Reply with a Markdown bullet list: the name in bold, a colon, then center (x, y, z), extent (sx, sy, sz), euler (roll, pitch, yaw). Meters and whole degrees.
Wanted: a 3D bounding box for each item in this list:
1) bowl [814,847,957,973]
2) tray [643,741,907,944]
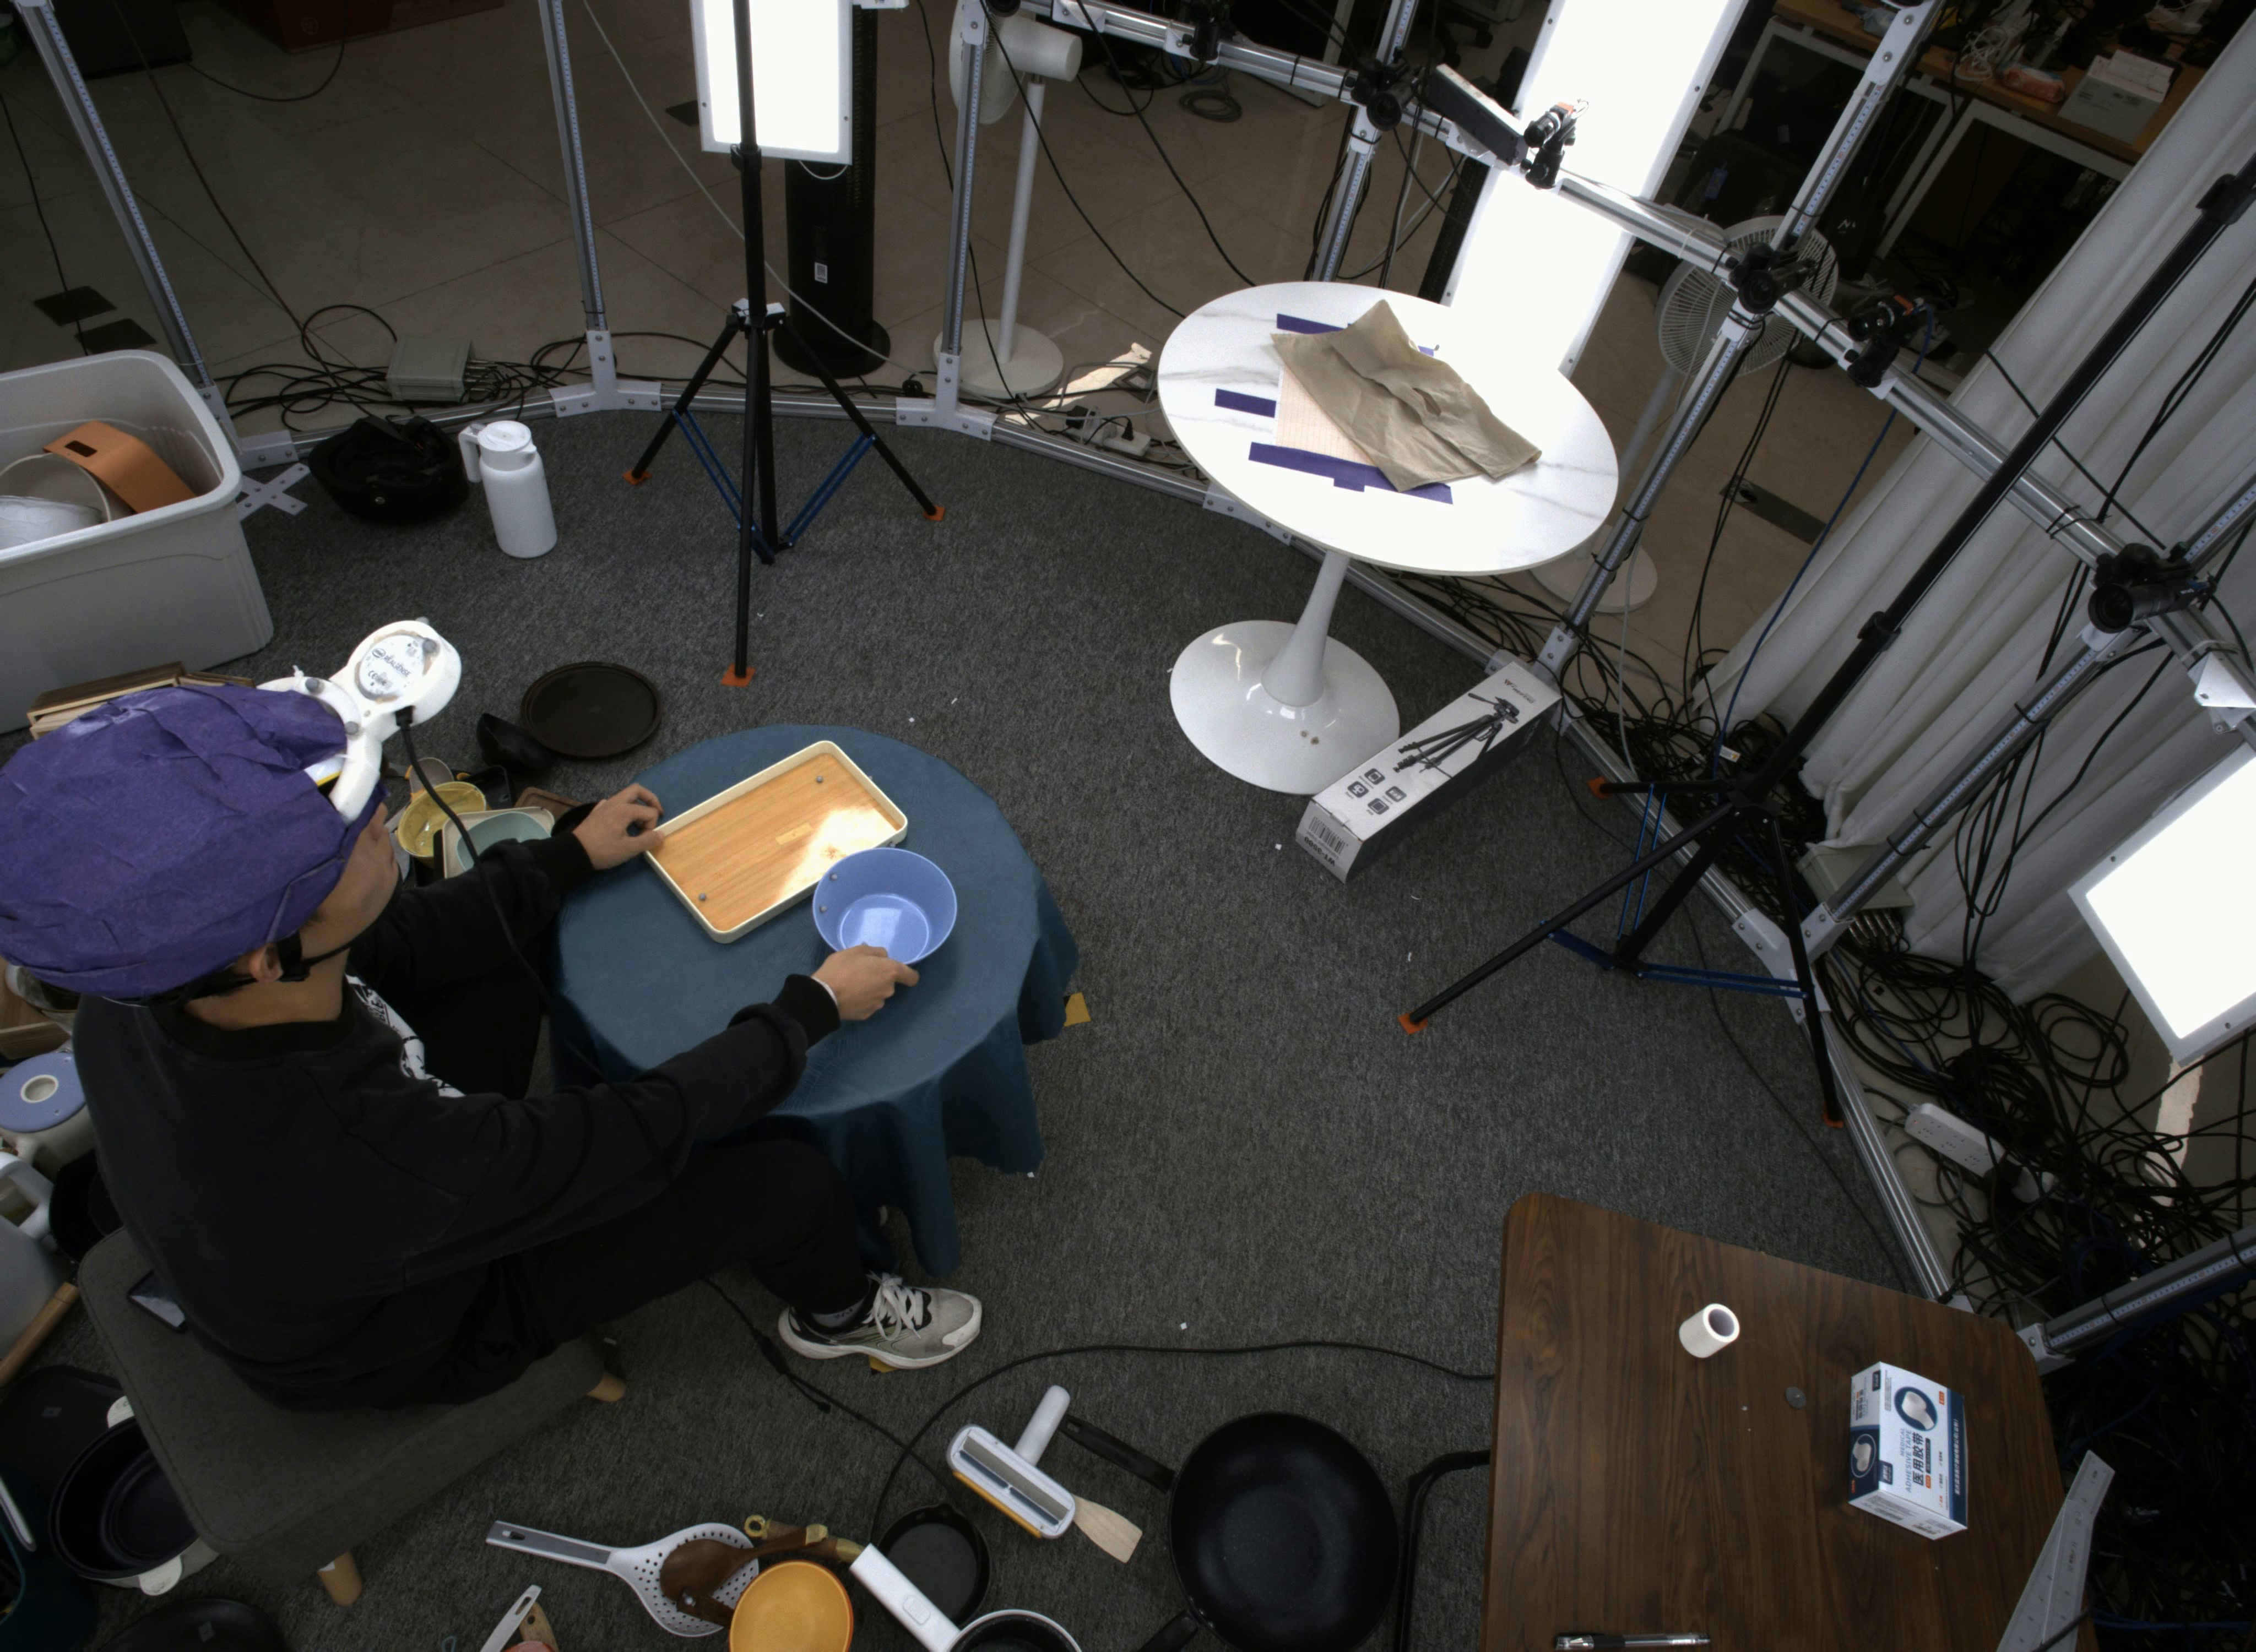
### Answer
- **bowl**: center (-0.303, 0.115, 1.629), extent (0.175, 0.072, 0.173), euler (7, 52, -7)
- **tray**: center (-0.458, 0.014, 1.693), extent (0.301, 0.028, 0.187), euler (-34, 68, -33)
